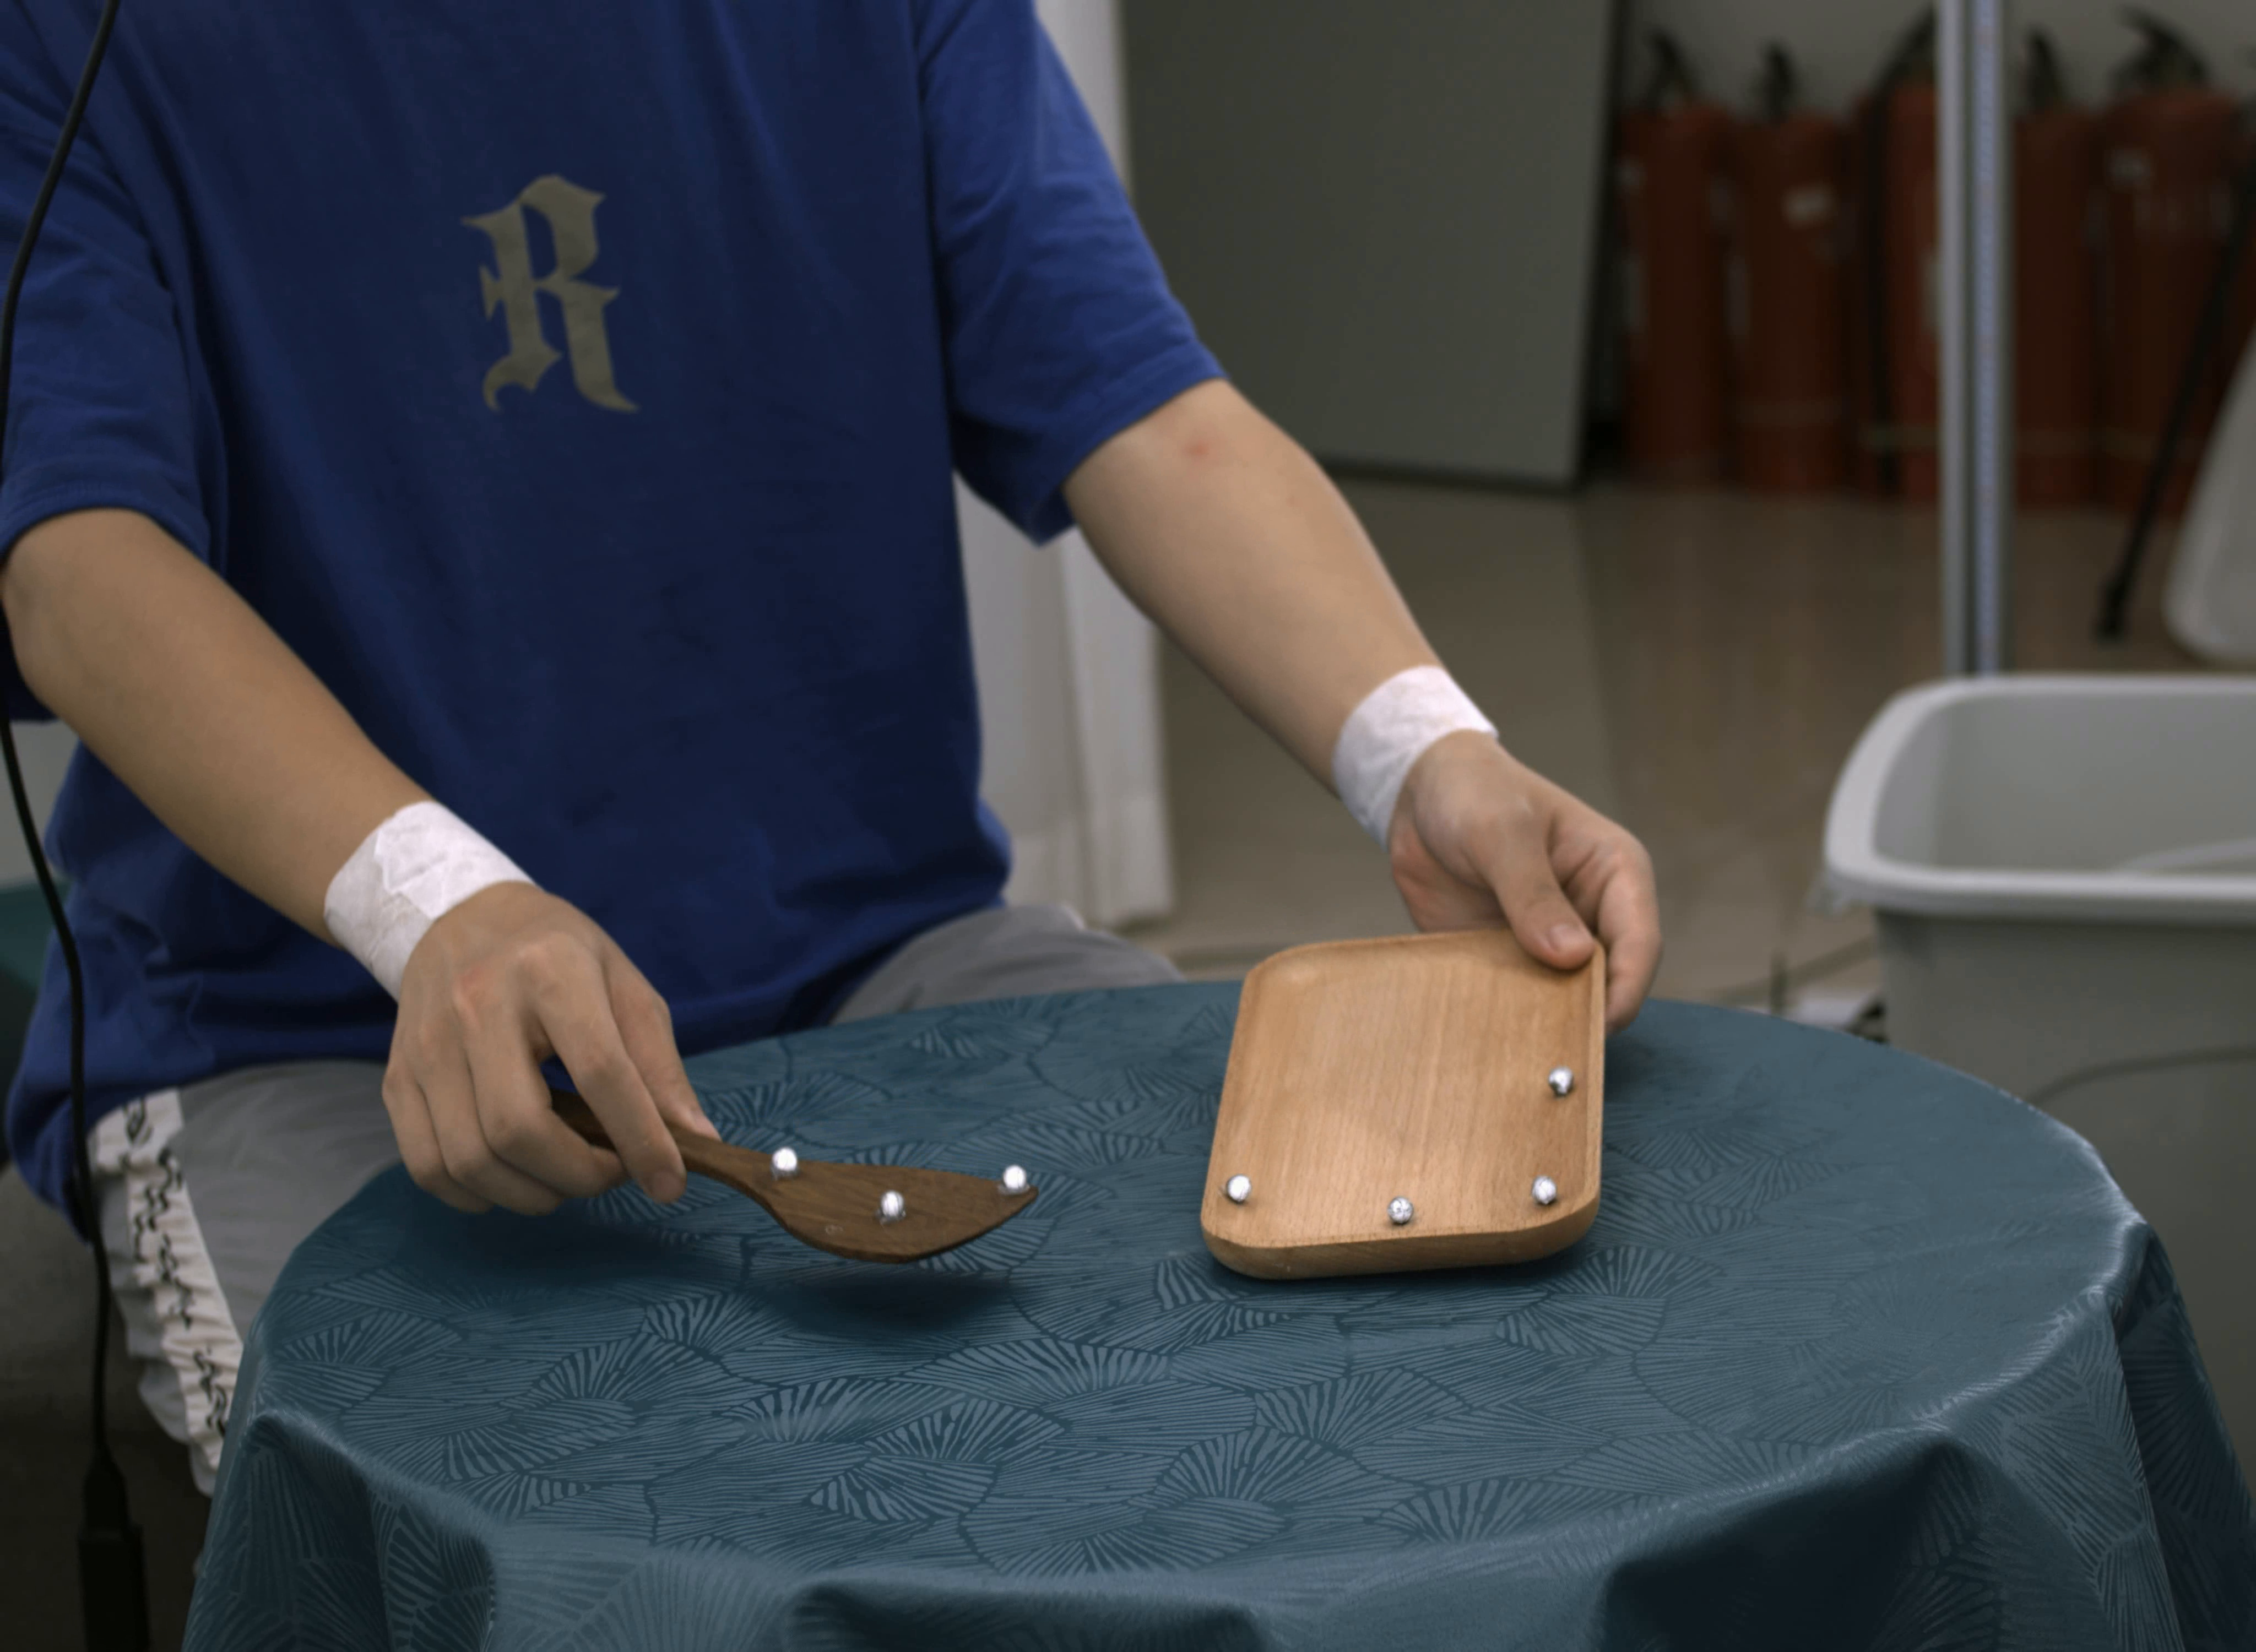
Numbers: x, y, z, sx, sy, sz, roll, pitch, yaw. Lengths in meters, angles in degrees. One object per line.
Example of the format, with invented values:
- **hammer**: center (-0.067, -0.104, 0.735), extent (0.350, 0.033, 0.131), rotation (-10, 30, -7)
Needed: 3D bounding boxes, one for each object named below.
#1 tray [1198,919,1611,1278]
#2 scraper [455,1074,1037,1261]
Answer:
- **tray**: center (0.094, 0.087, 1.773), extent (0.129, 0.023, 0.250), rotation (-3, 20, 8)
- **scraper**: center (-0.128, 0.106, 1.717), extent (0.212, 0.011, 0.074), rotation (13, 21, 33)
